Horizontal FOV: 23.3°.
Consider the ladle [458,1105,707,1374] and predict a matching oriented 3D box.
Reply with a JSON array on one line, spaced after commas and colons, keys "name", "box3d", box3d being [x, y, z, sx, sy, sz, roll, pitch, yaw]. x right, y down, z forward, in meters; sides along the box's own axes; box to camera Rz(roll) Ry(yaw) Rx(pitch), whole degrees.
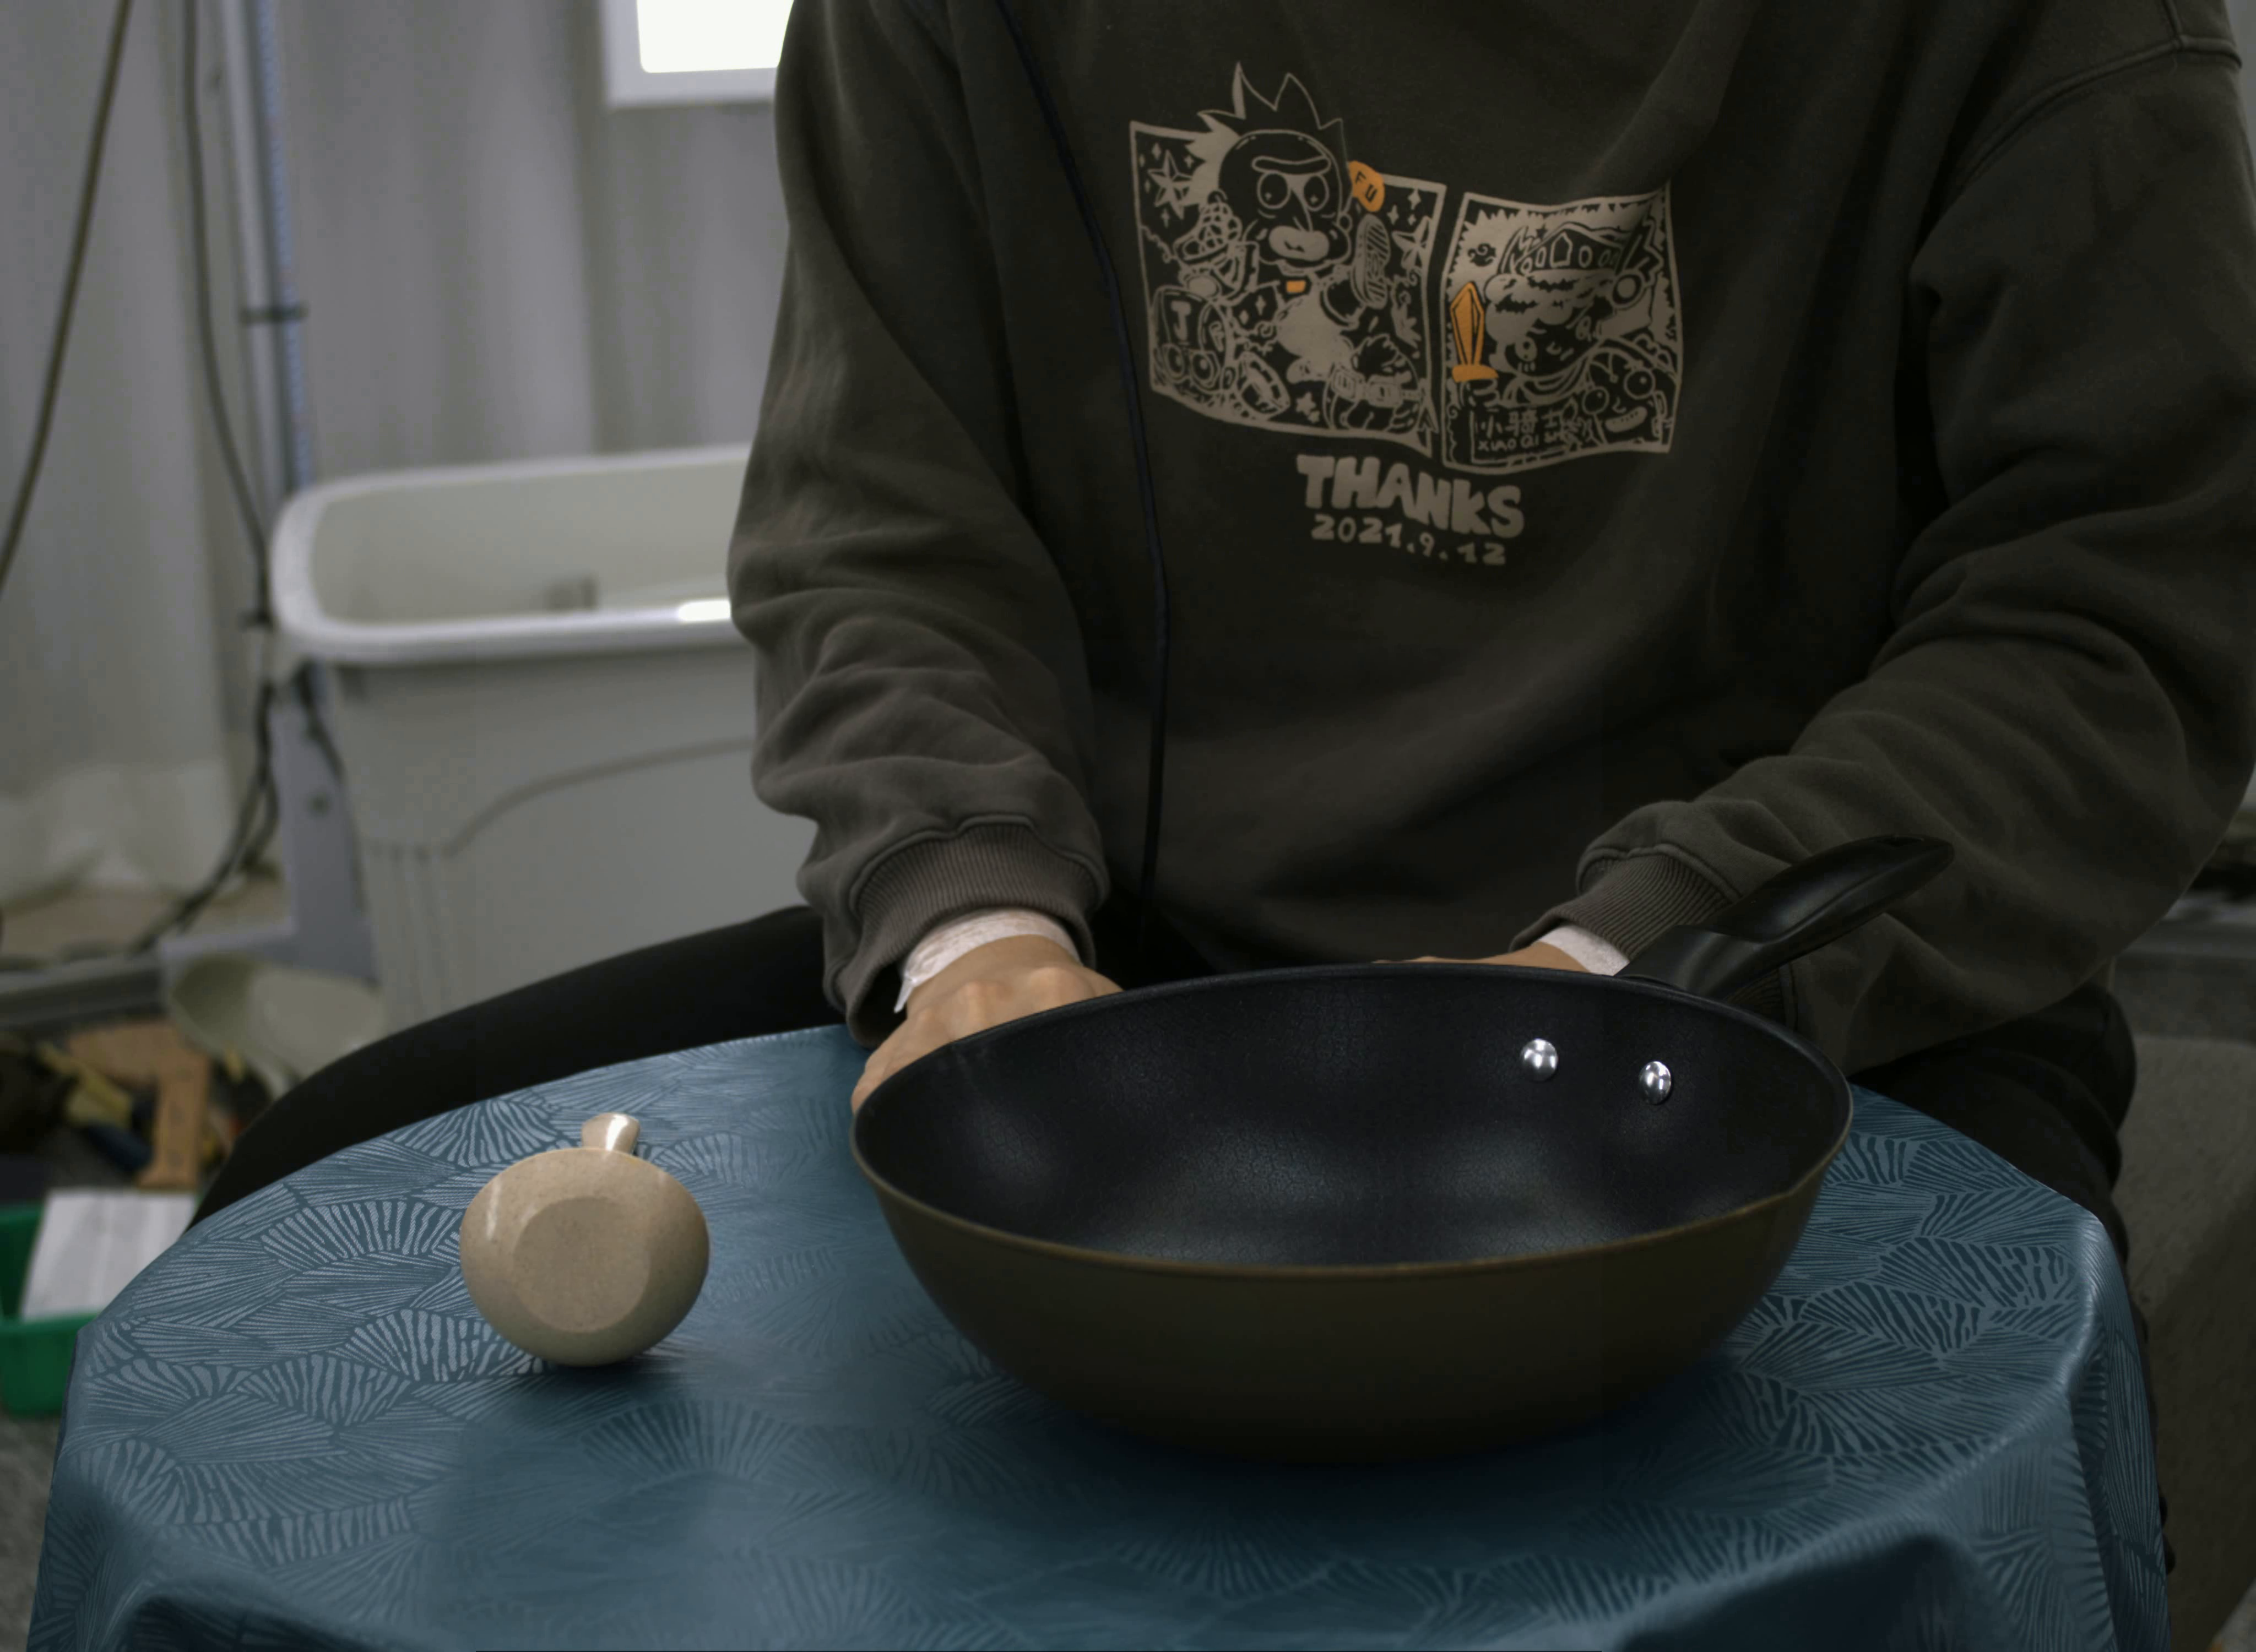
[{"name": "ladle", "box3d": [-0.169, 0.097, 1.681, 0.072, 0.072, 0.256, -10, 17, -3]}]

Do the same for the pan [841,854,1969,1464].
[{"name": "pan", "box3d": [0.117, 0.095, 1.615, 0.289, 0.086, 0.463, 8, 18, 37]}]
